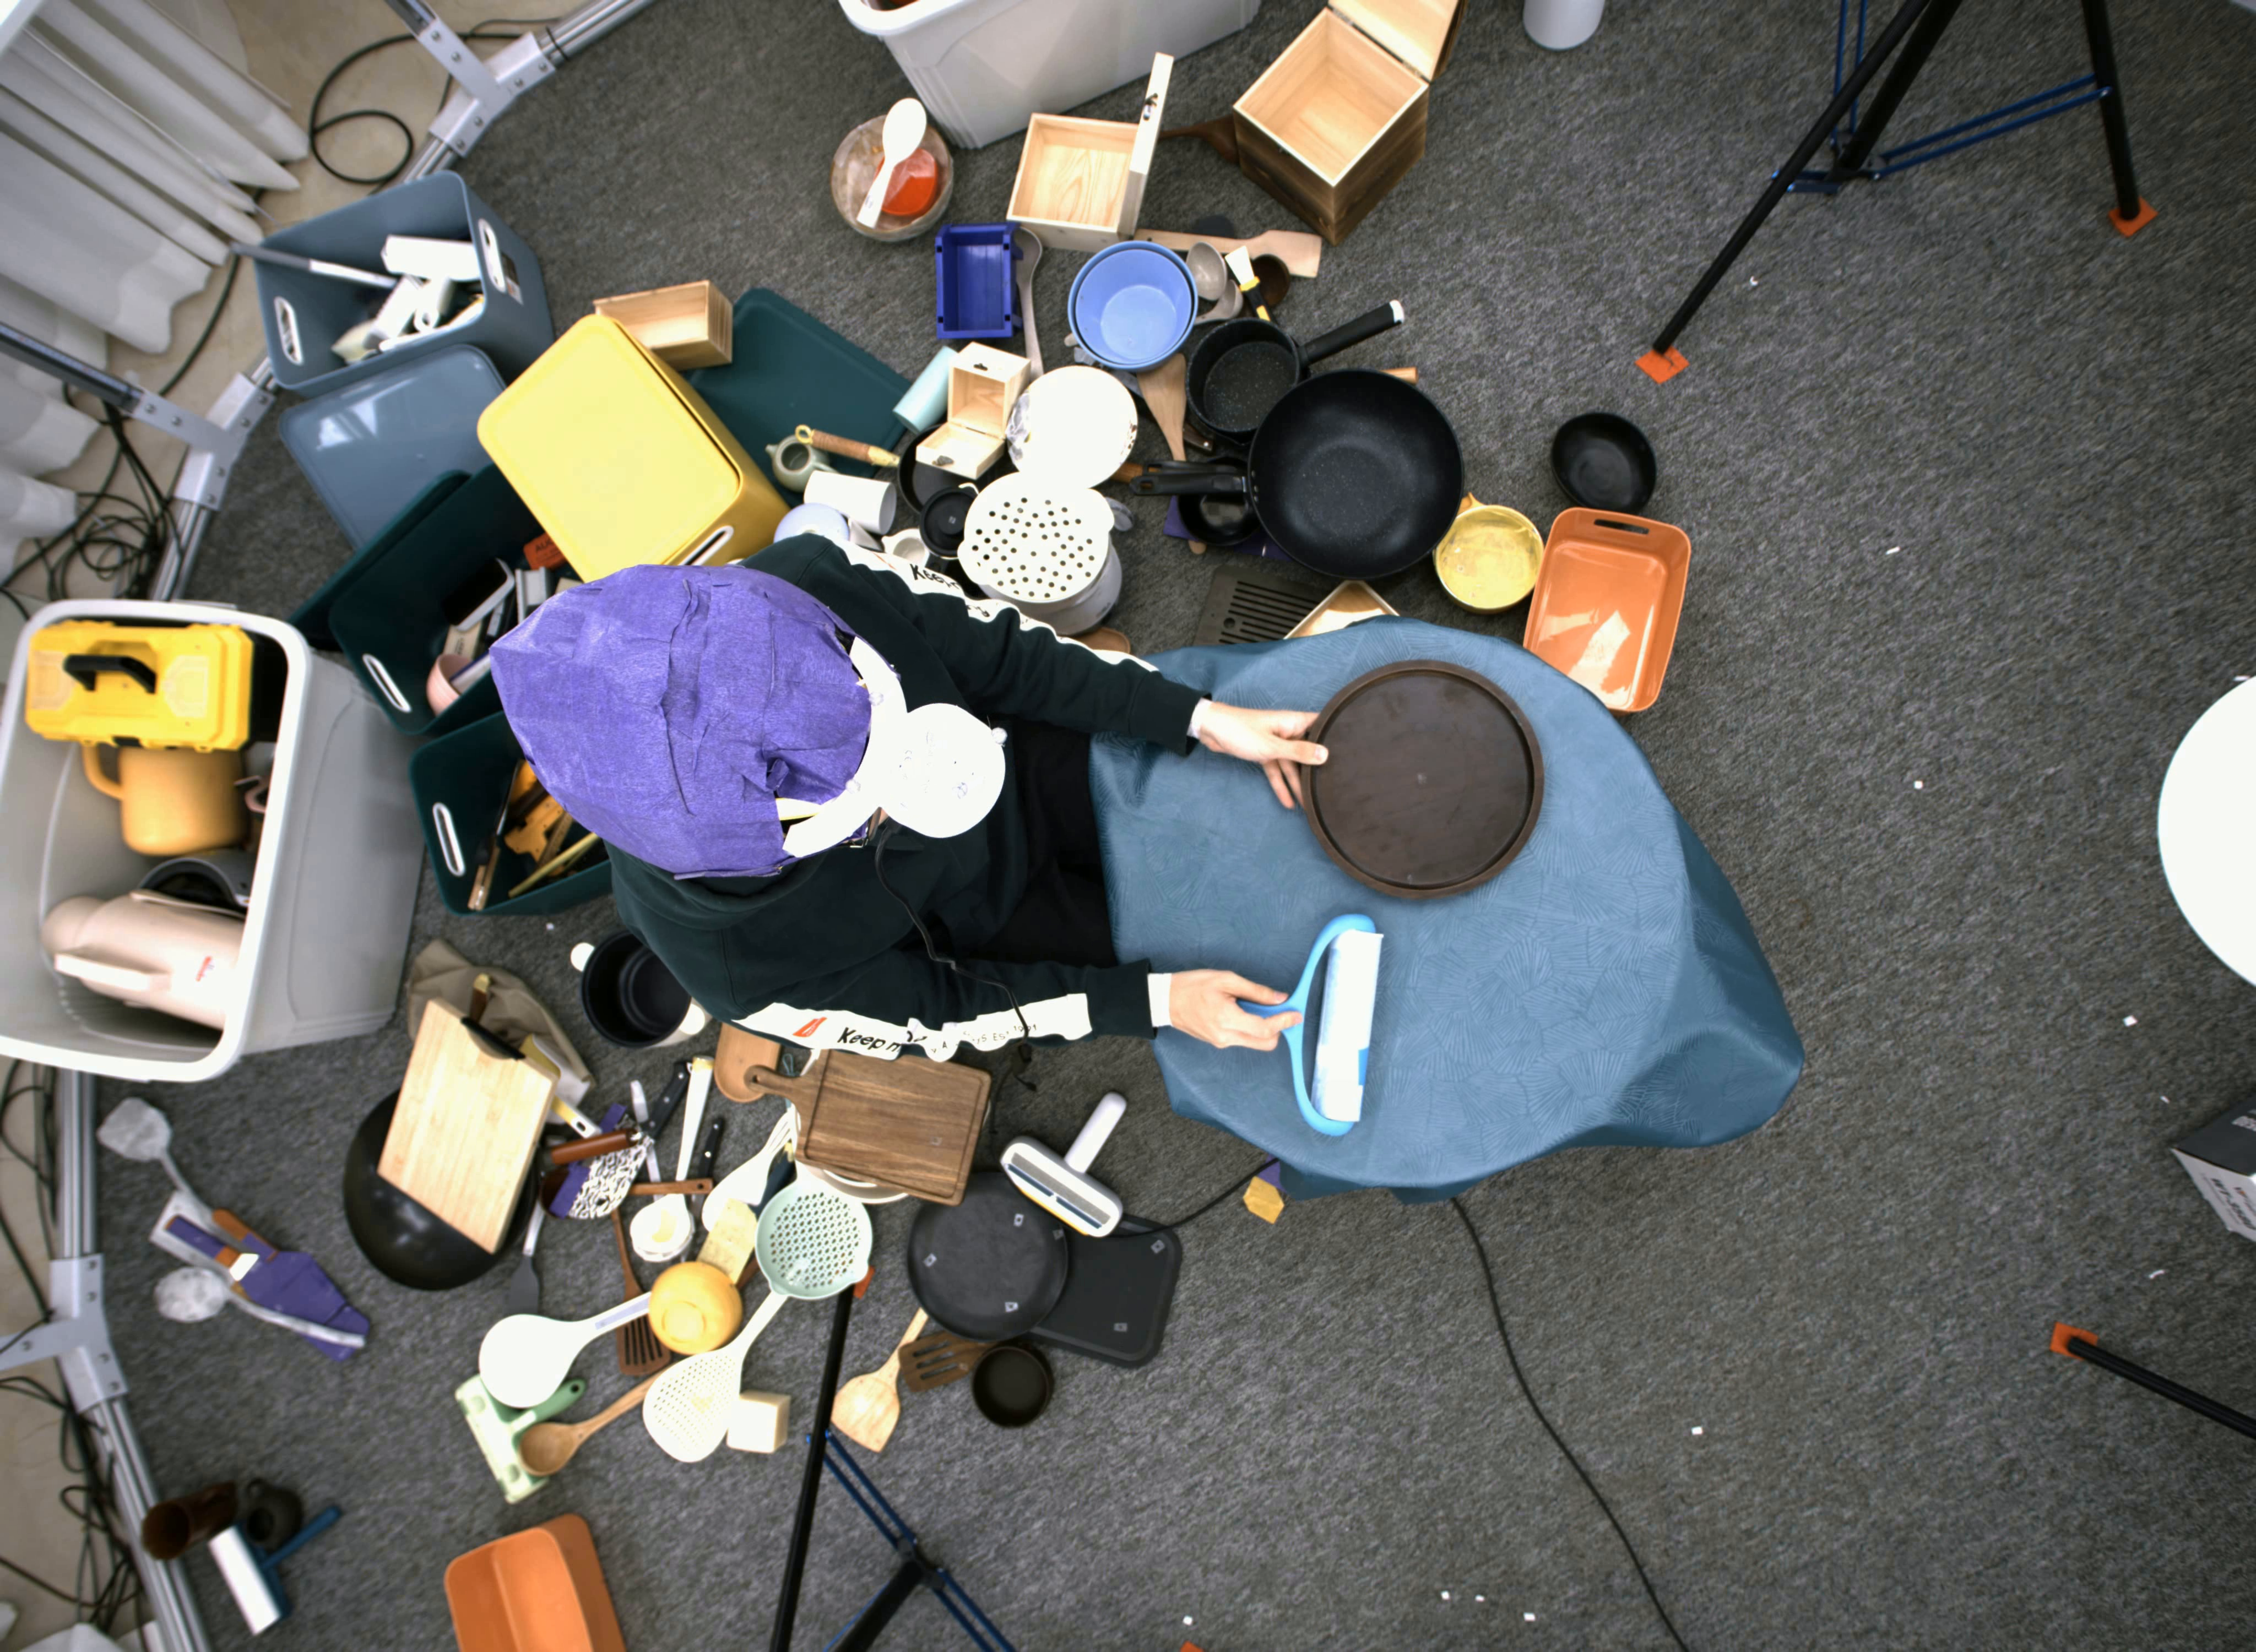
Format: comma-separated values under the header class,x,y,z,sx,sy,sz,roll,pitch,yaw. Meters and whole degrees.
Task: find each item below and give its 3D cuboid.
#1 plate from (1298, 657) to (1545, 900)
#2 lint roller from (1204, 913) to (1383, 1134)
class,x,y,z,sx,sy,sz,roll,pitch,yaw
plate,0.305,-0.051,1.435,0.255,0.029,0.254,0,89,6
lint roller,0.167,0.198,1.434,0.180,0.068,0.228,4,89,5
